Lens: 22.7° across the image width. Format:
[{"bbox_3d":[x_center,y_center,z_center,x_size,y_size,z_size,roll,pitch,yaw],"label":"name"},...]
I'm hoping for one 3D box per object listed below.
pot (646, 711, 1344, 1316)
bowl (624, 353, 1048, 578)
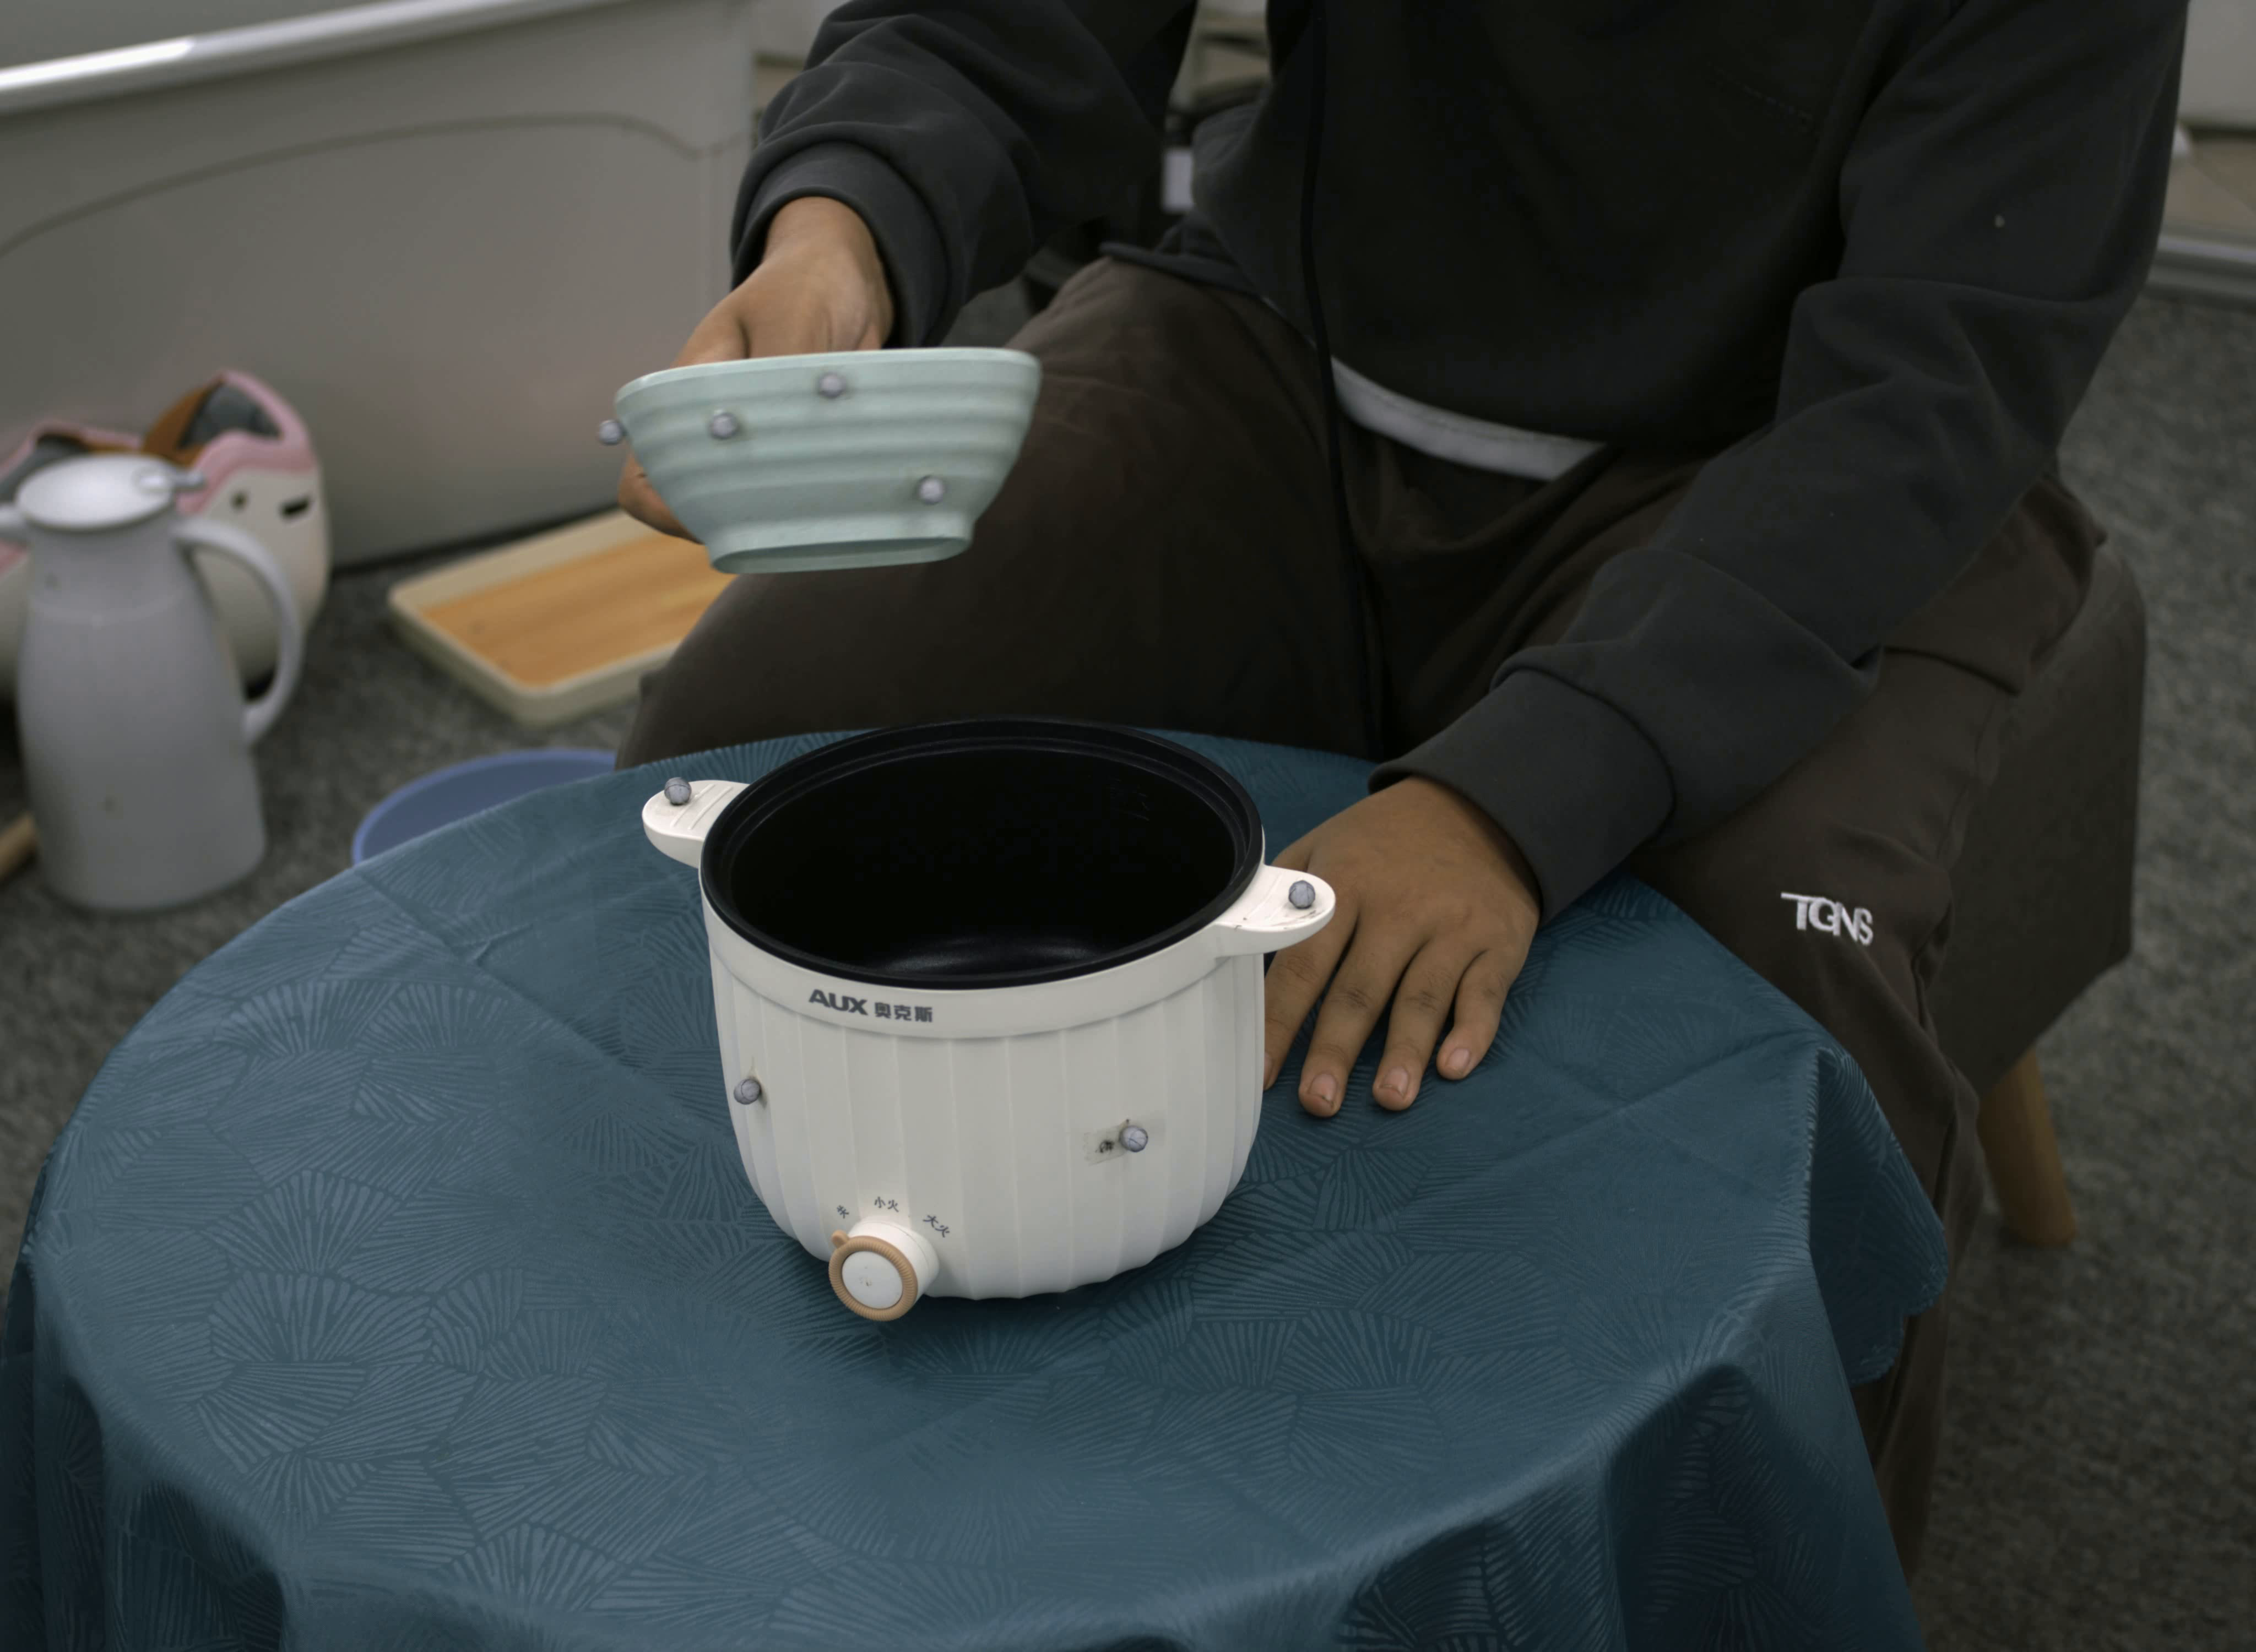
[{"bbox_3d":[-0.043,0.064,1.828,0.238,0.141,0.193,6,25,20],"label":"pot"},{"bbox_3d":[-0.093,-0.115,1.836,0.151,0.059,0.151,-5,-2,0],"label":"bowl"}]
